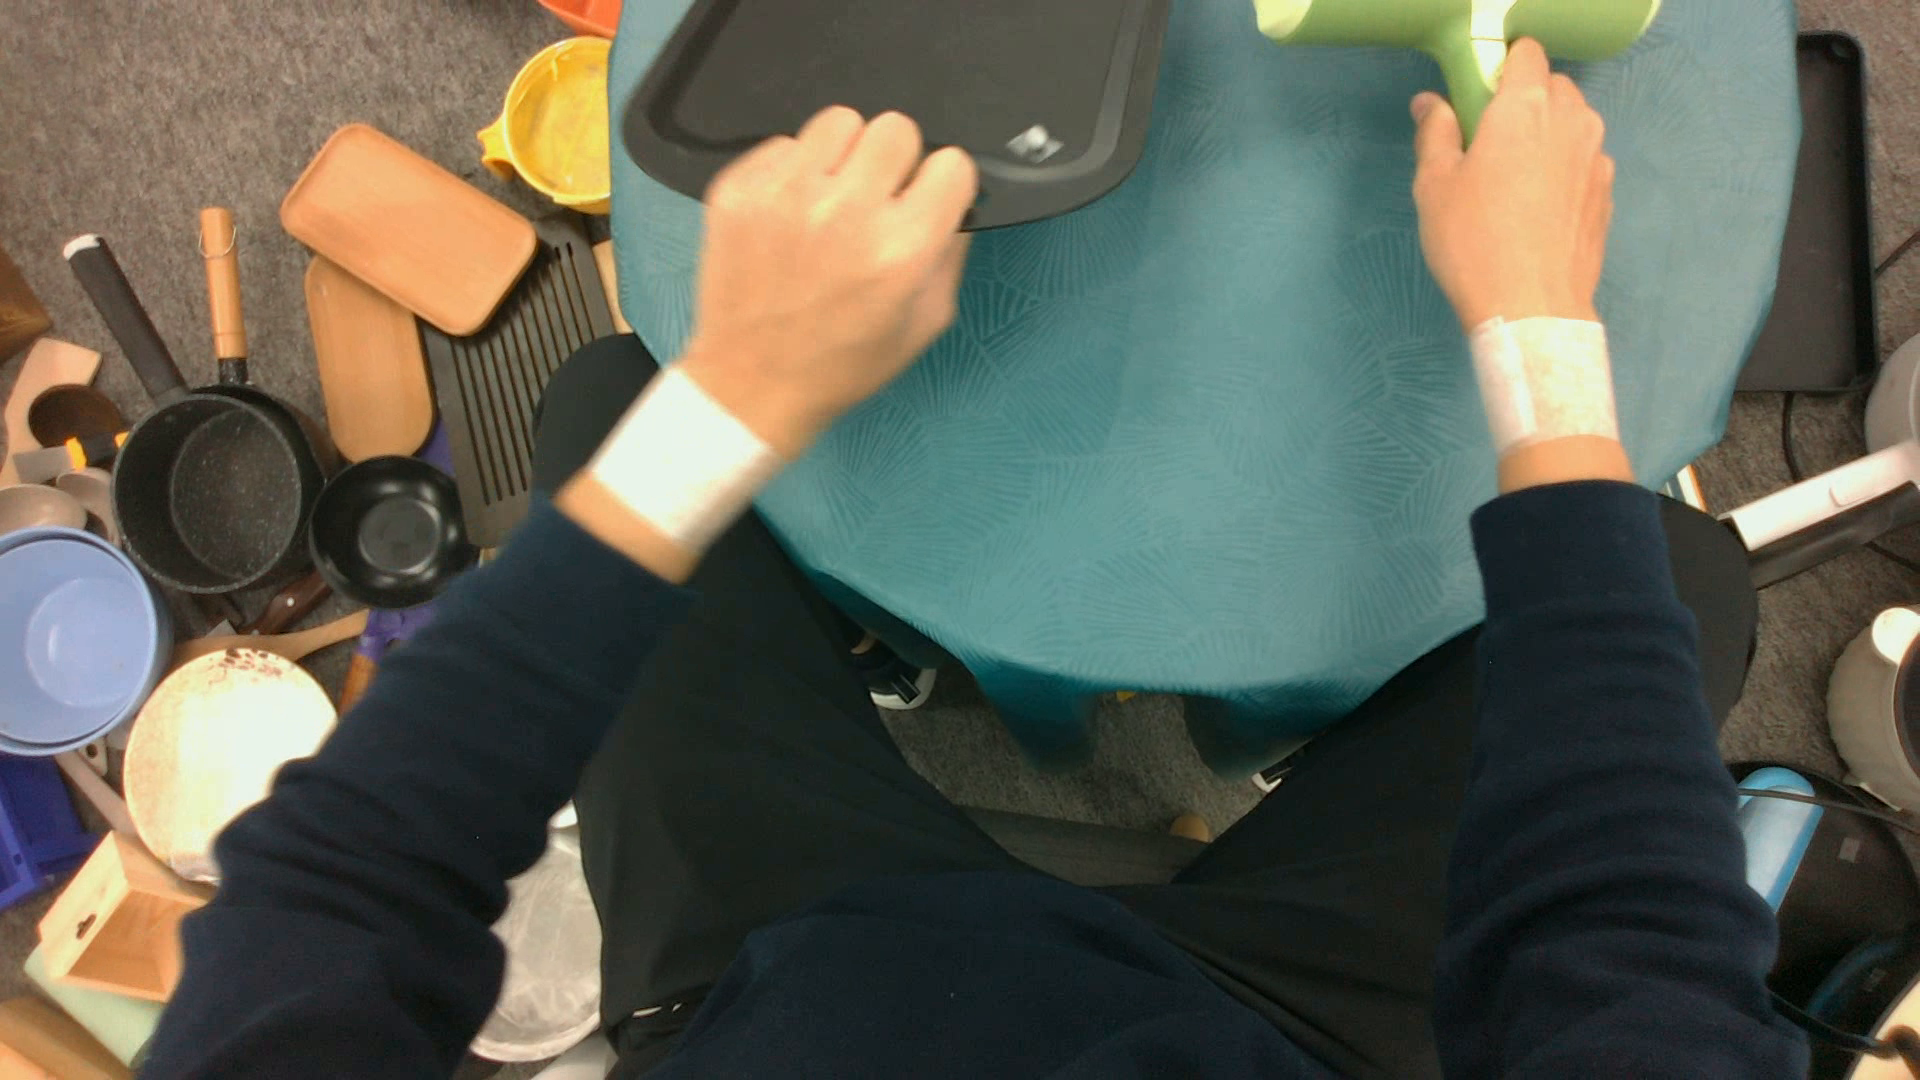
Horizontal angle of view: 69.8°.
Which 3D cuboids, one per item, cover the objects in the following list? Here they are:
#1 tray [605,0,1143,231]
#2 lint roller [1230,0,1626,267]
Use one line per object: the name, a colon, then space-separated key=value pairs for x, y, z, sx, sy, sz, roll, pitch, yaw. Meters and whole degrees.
tray: x=-0.025 y=-0.237 z=0.612 sx=0.211 sy=0.010 sz=0.327 roll=4 pitch=49 yaw=8
lint roller: x=0.230 y=-0.216 z=0.607 sx=0.199 sy=0.082 sz=0.184 roll=-5 pitch=67 yaw=-17
